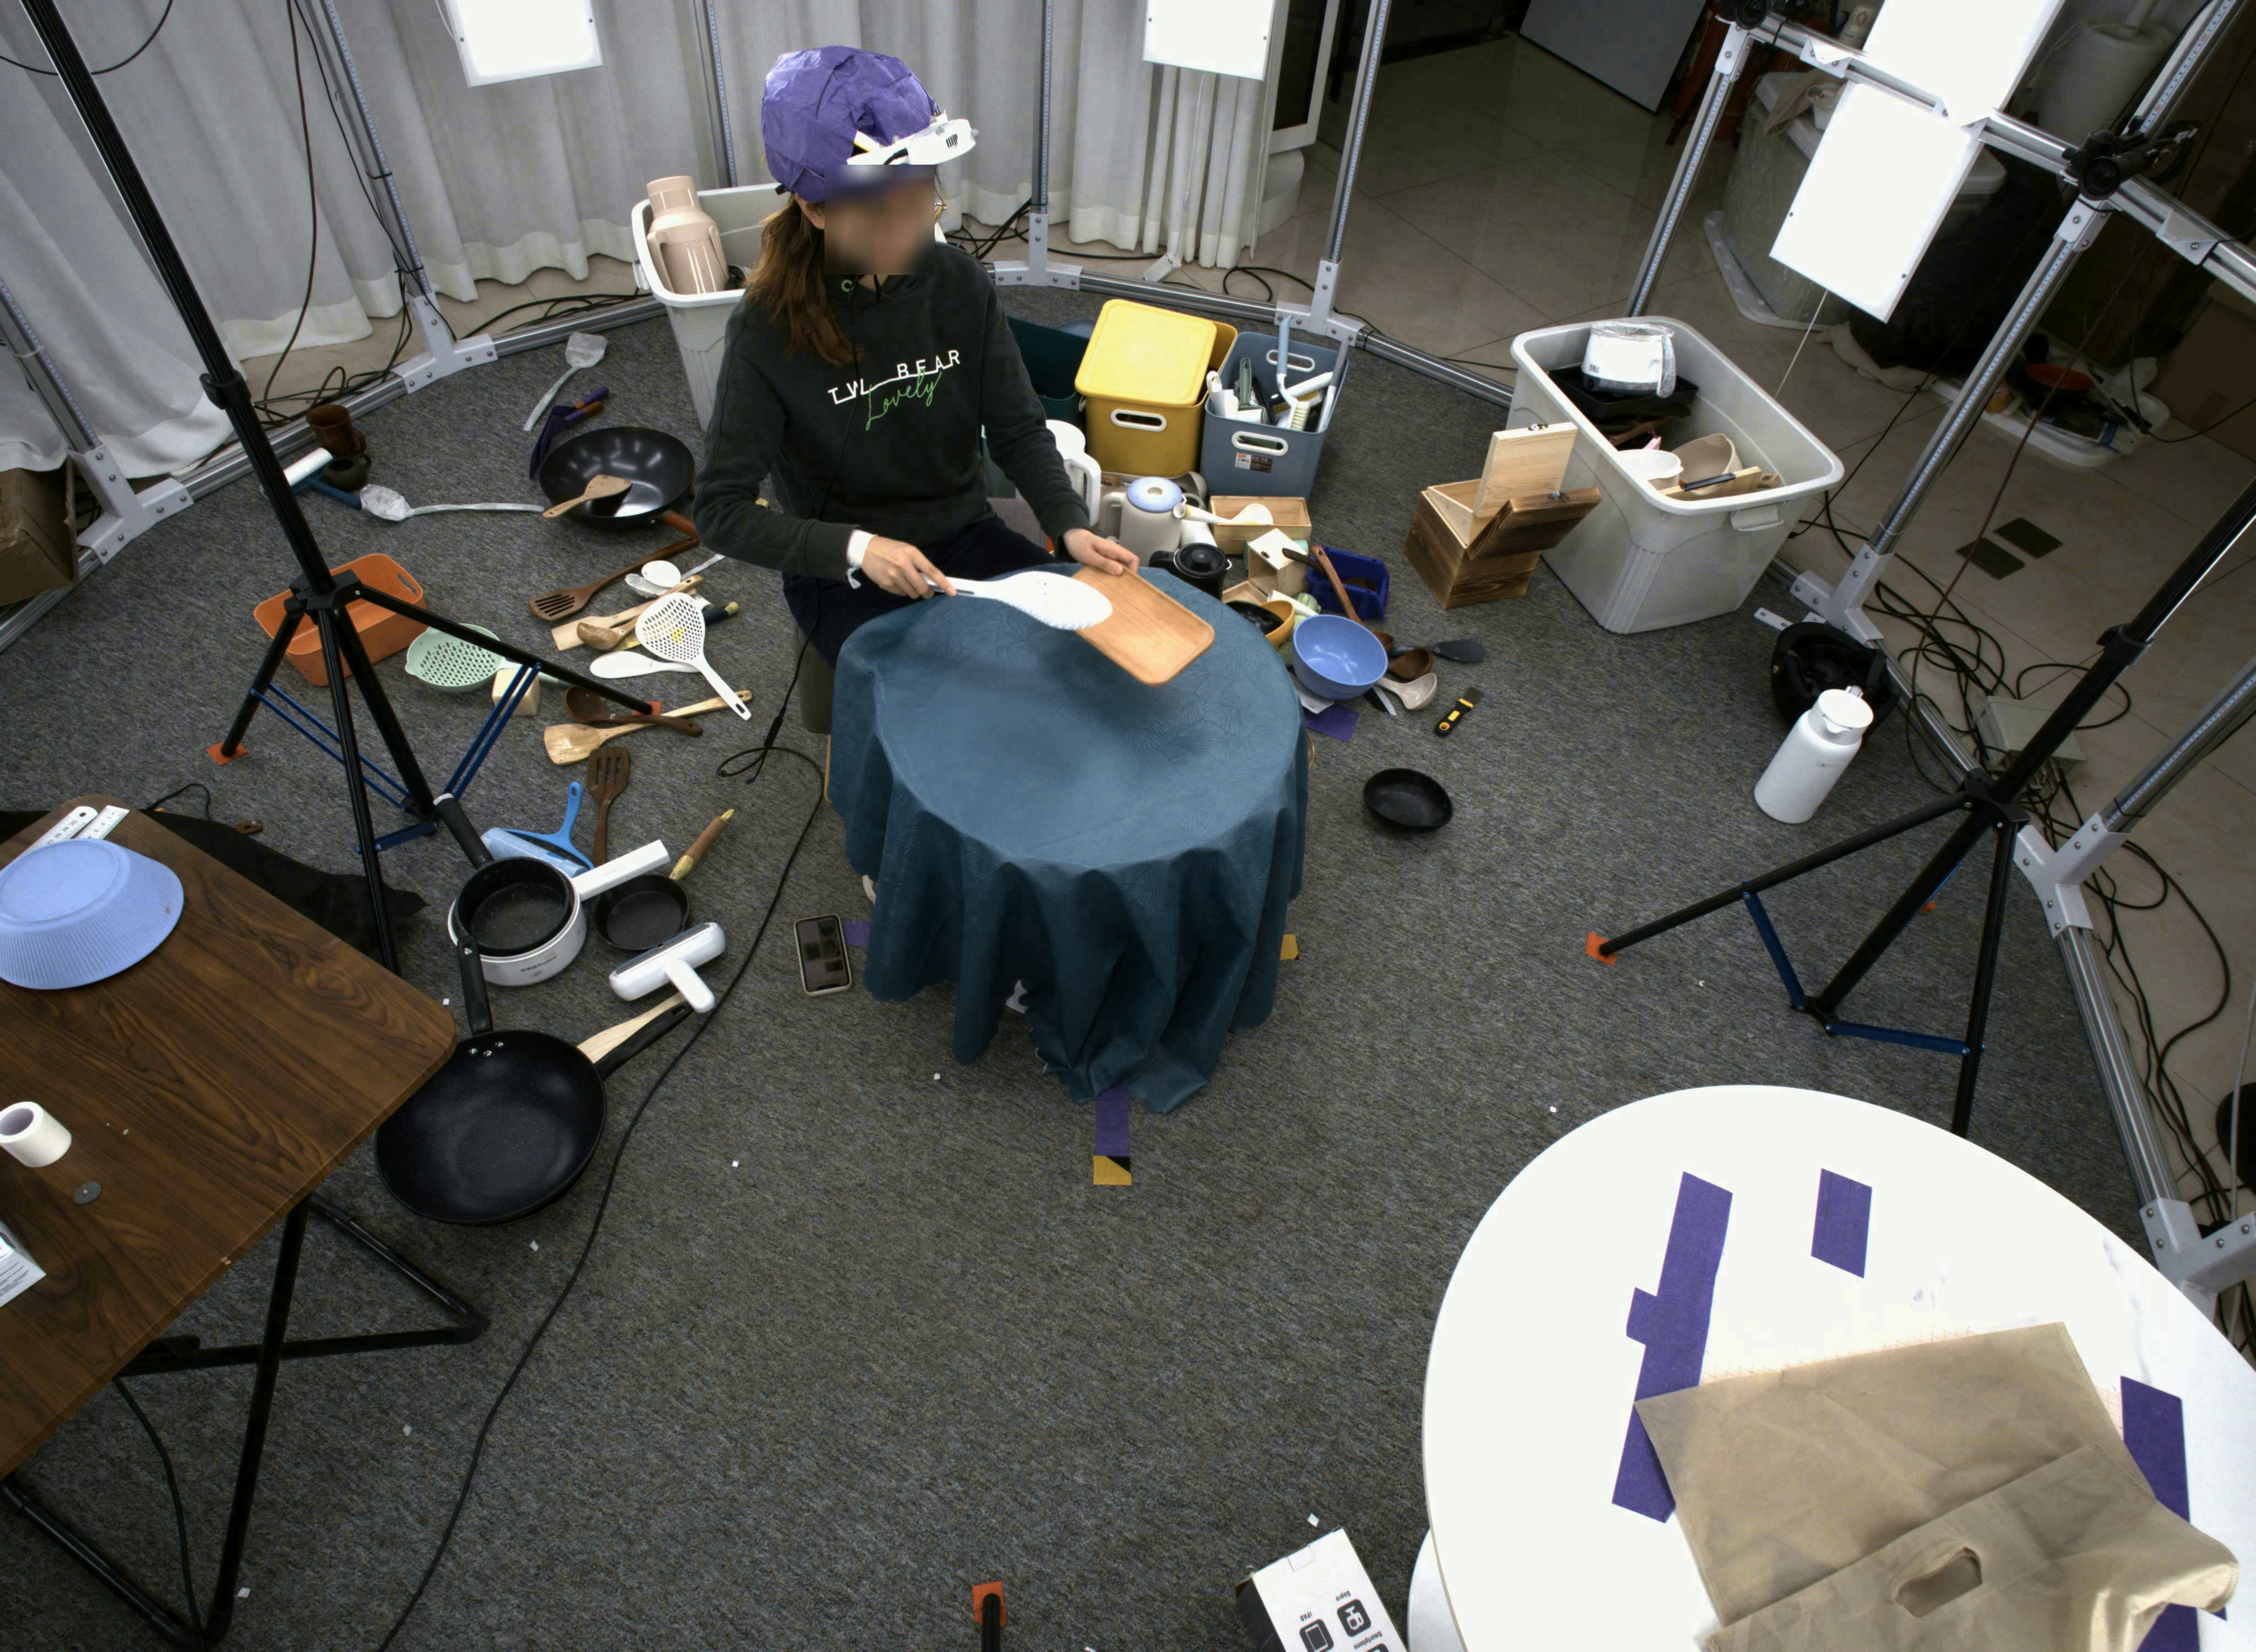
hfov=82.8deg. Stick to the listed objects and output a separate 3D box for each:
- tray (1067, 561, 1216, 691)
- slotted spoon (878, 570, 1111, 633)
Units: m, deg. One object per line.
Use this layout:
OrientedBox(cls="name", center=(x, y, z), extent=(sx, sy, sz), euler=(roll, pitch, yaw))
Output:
OrientedBox(cls="tray", center=(0.005, -0.283, 1.805), extent=(0.131, 0.022, 0.255), euler=(-38, 55, -16))
OrientedBox(cls="slotted spoon", center=(-0.187, -0.316, 1.752), extent=(0.352, 0.133, 0.046), euler=(17, 77, 23))
